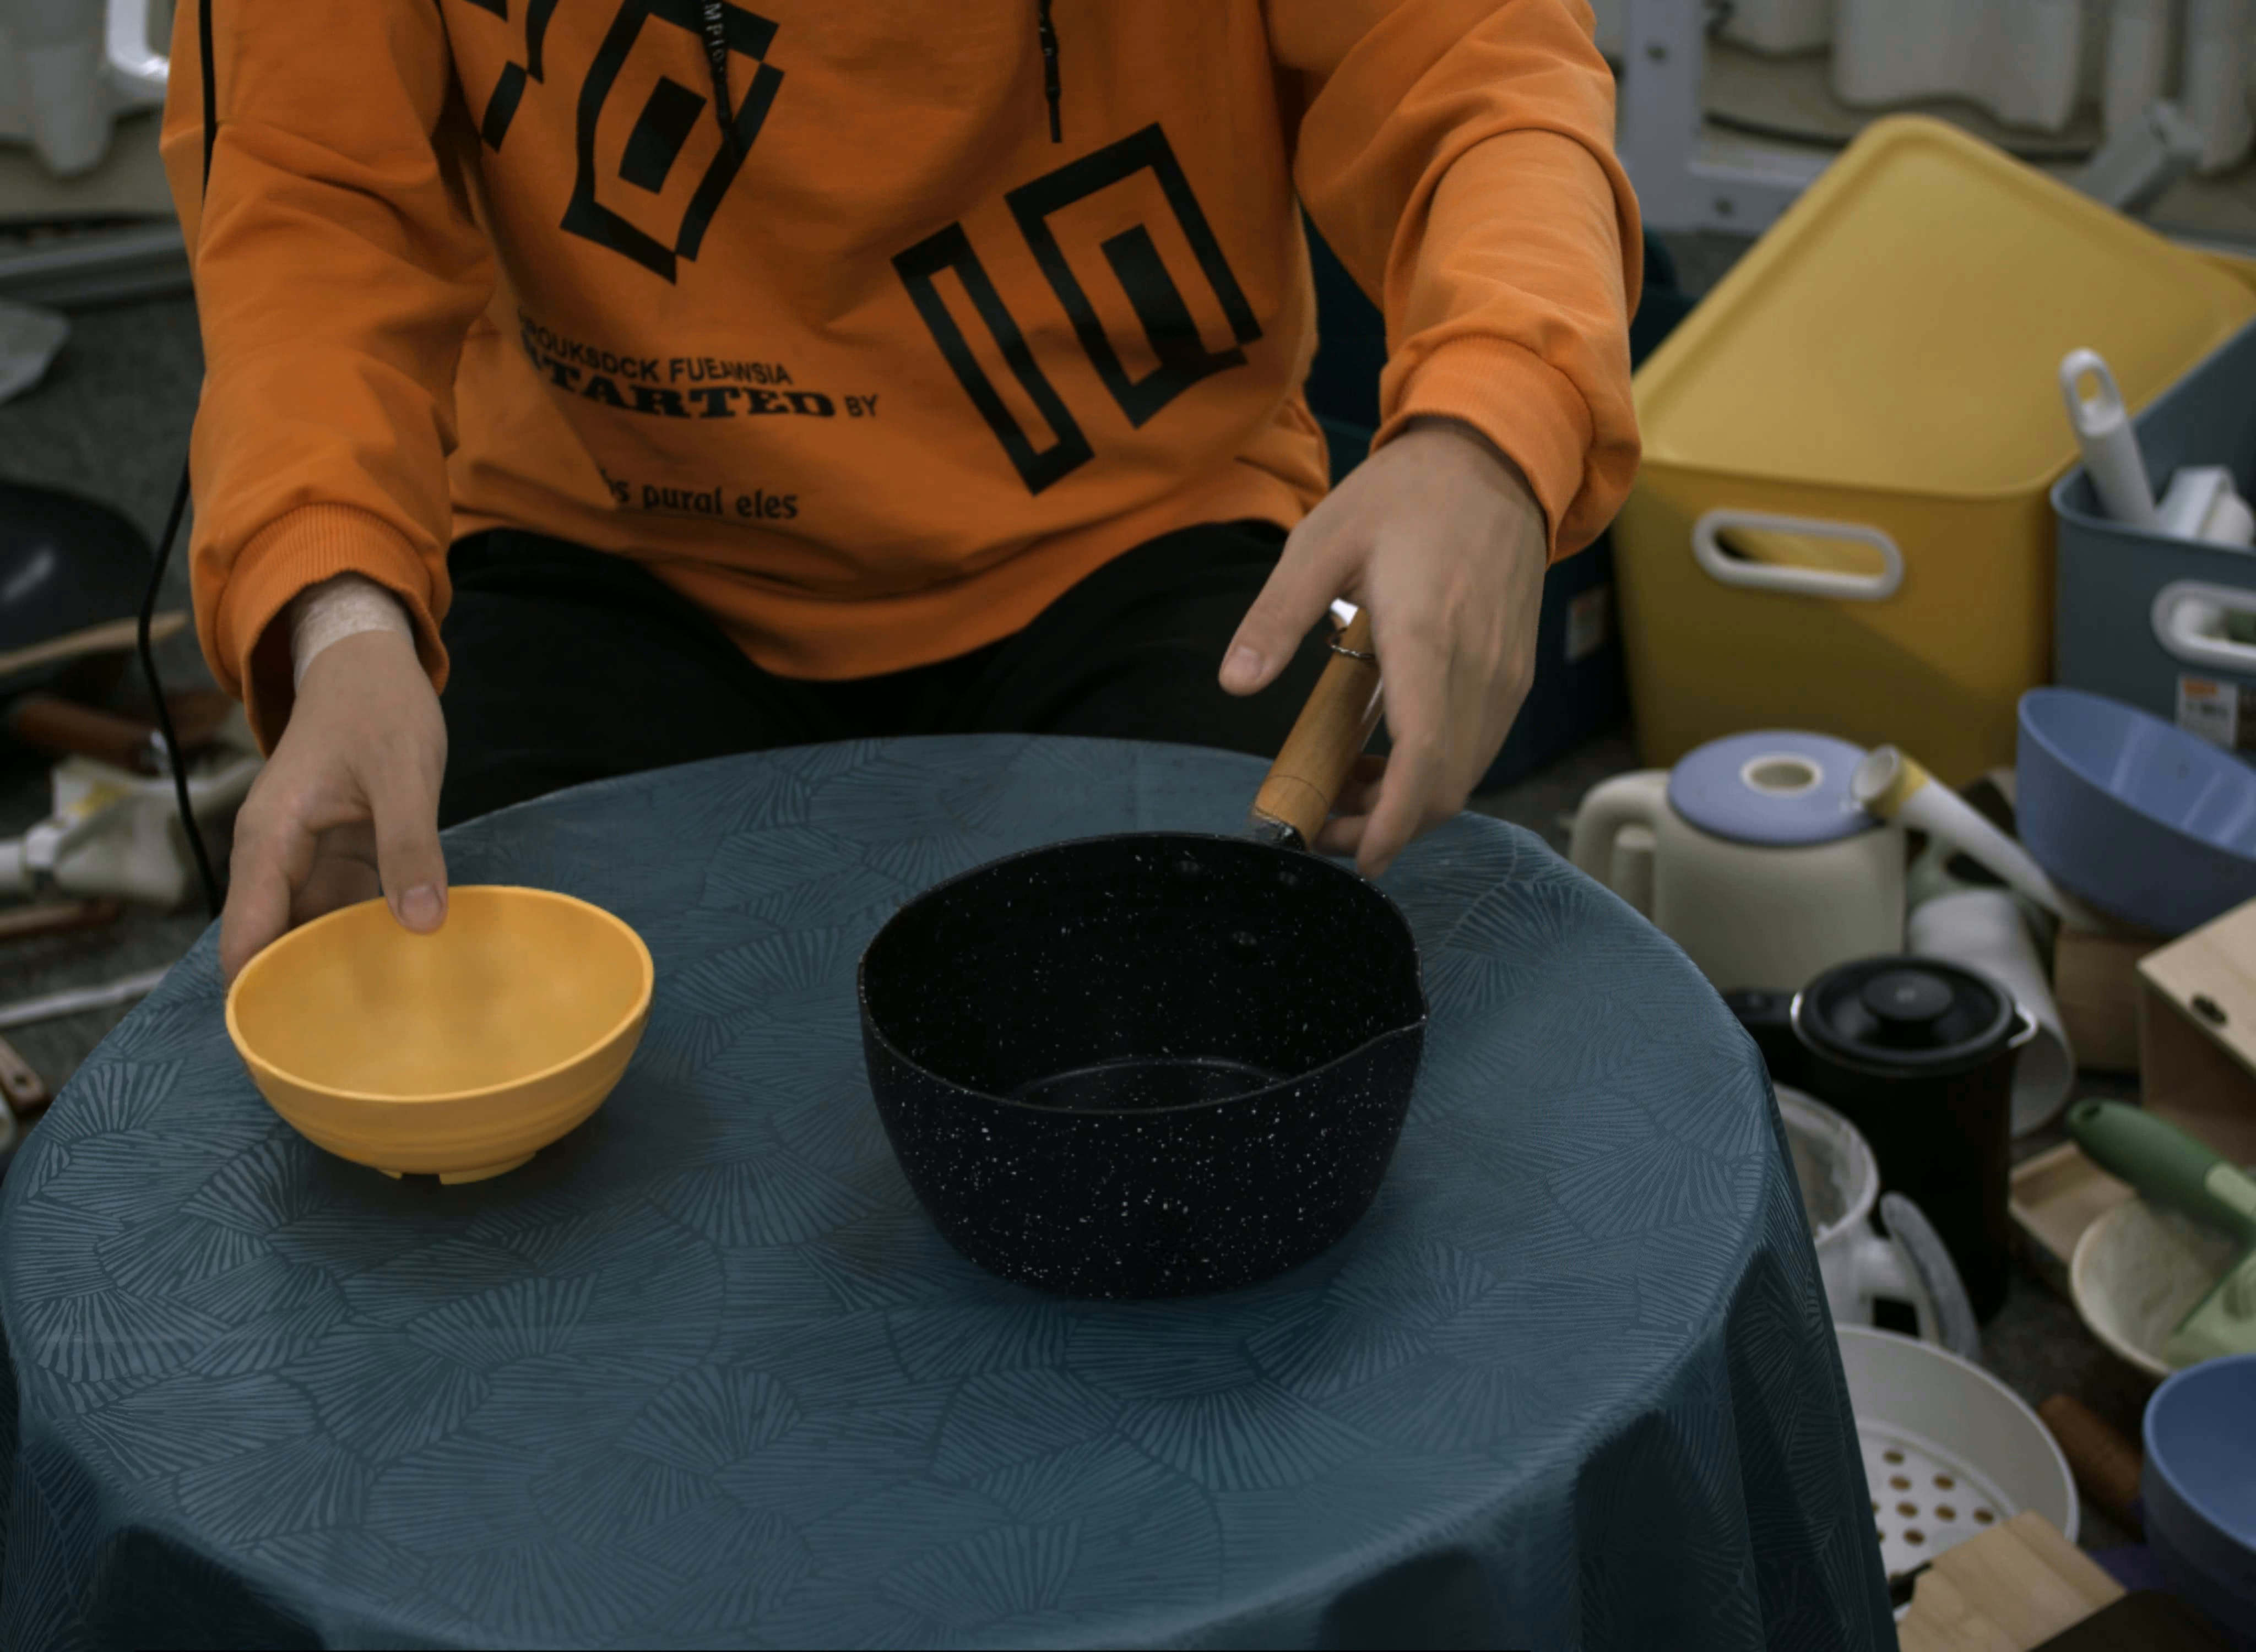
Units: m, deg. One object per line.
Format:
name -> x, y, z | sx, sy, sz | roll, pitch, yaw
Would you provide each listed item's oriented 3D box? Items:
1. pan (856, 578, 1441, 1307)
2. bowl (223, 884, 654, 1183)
pan -> 0.035, 0.036, 1.908 | 0.206, 0.107, 0.349 | 7, 30, 21
bowl -> -0.231, 0.080, 1.902 | 0.144, 0.059, 0.147 | -1, 28, 1
